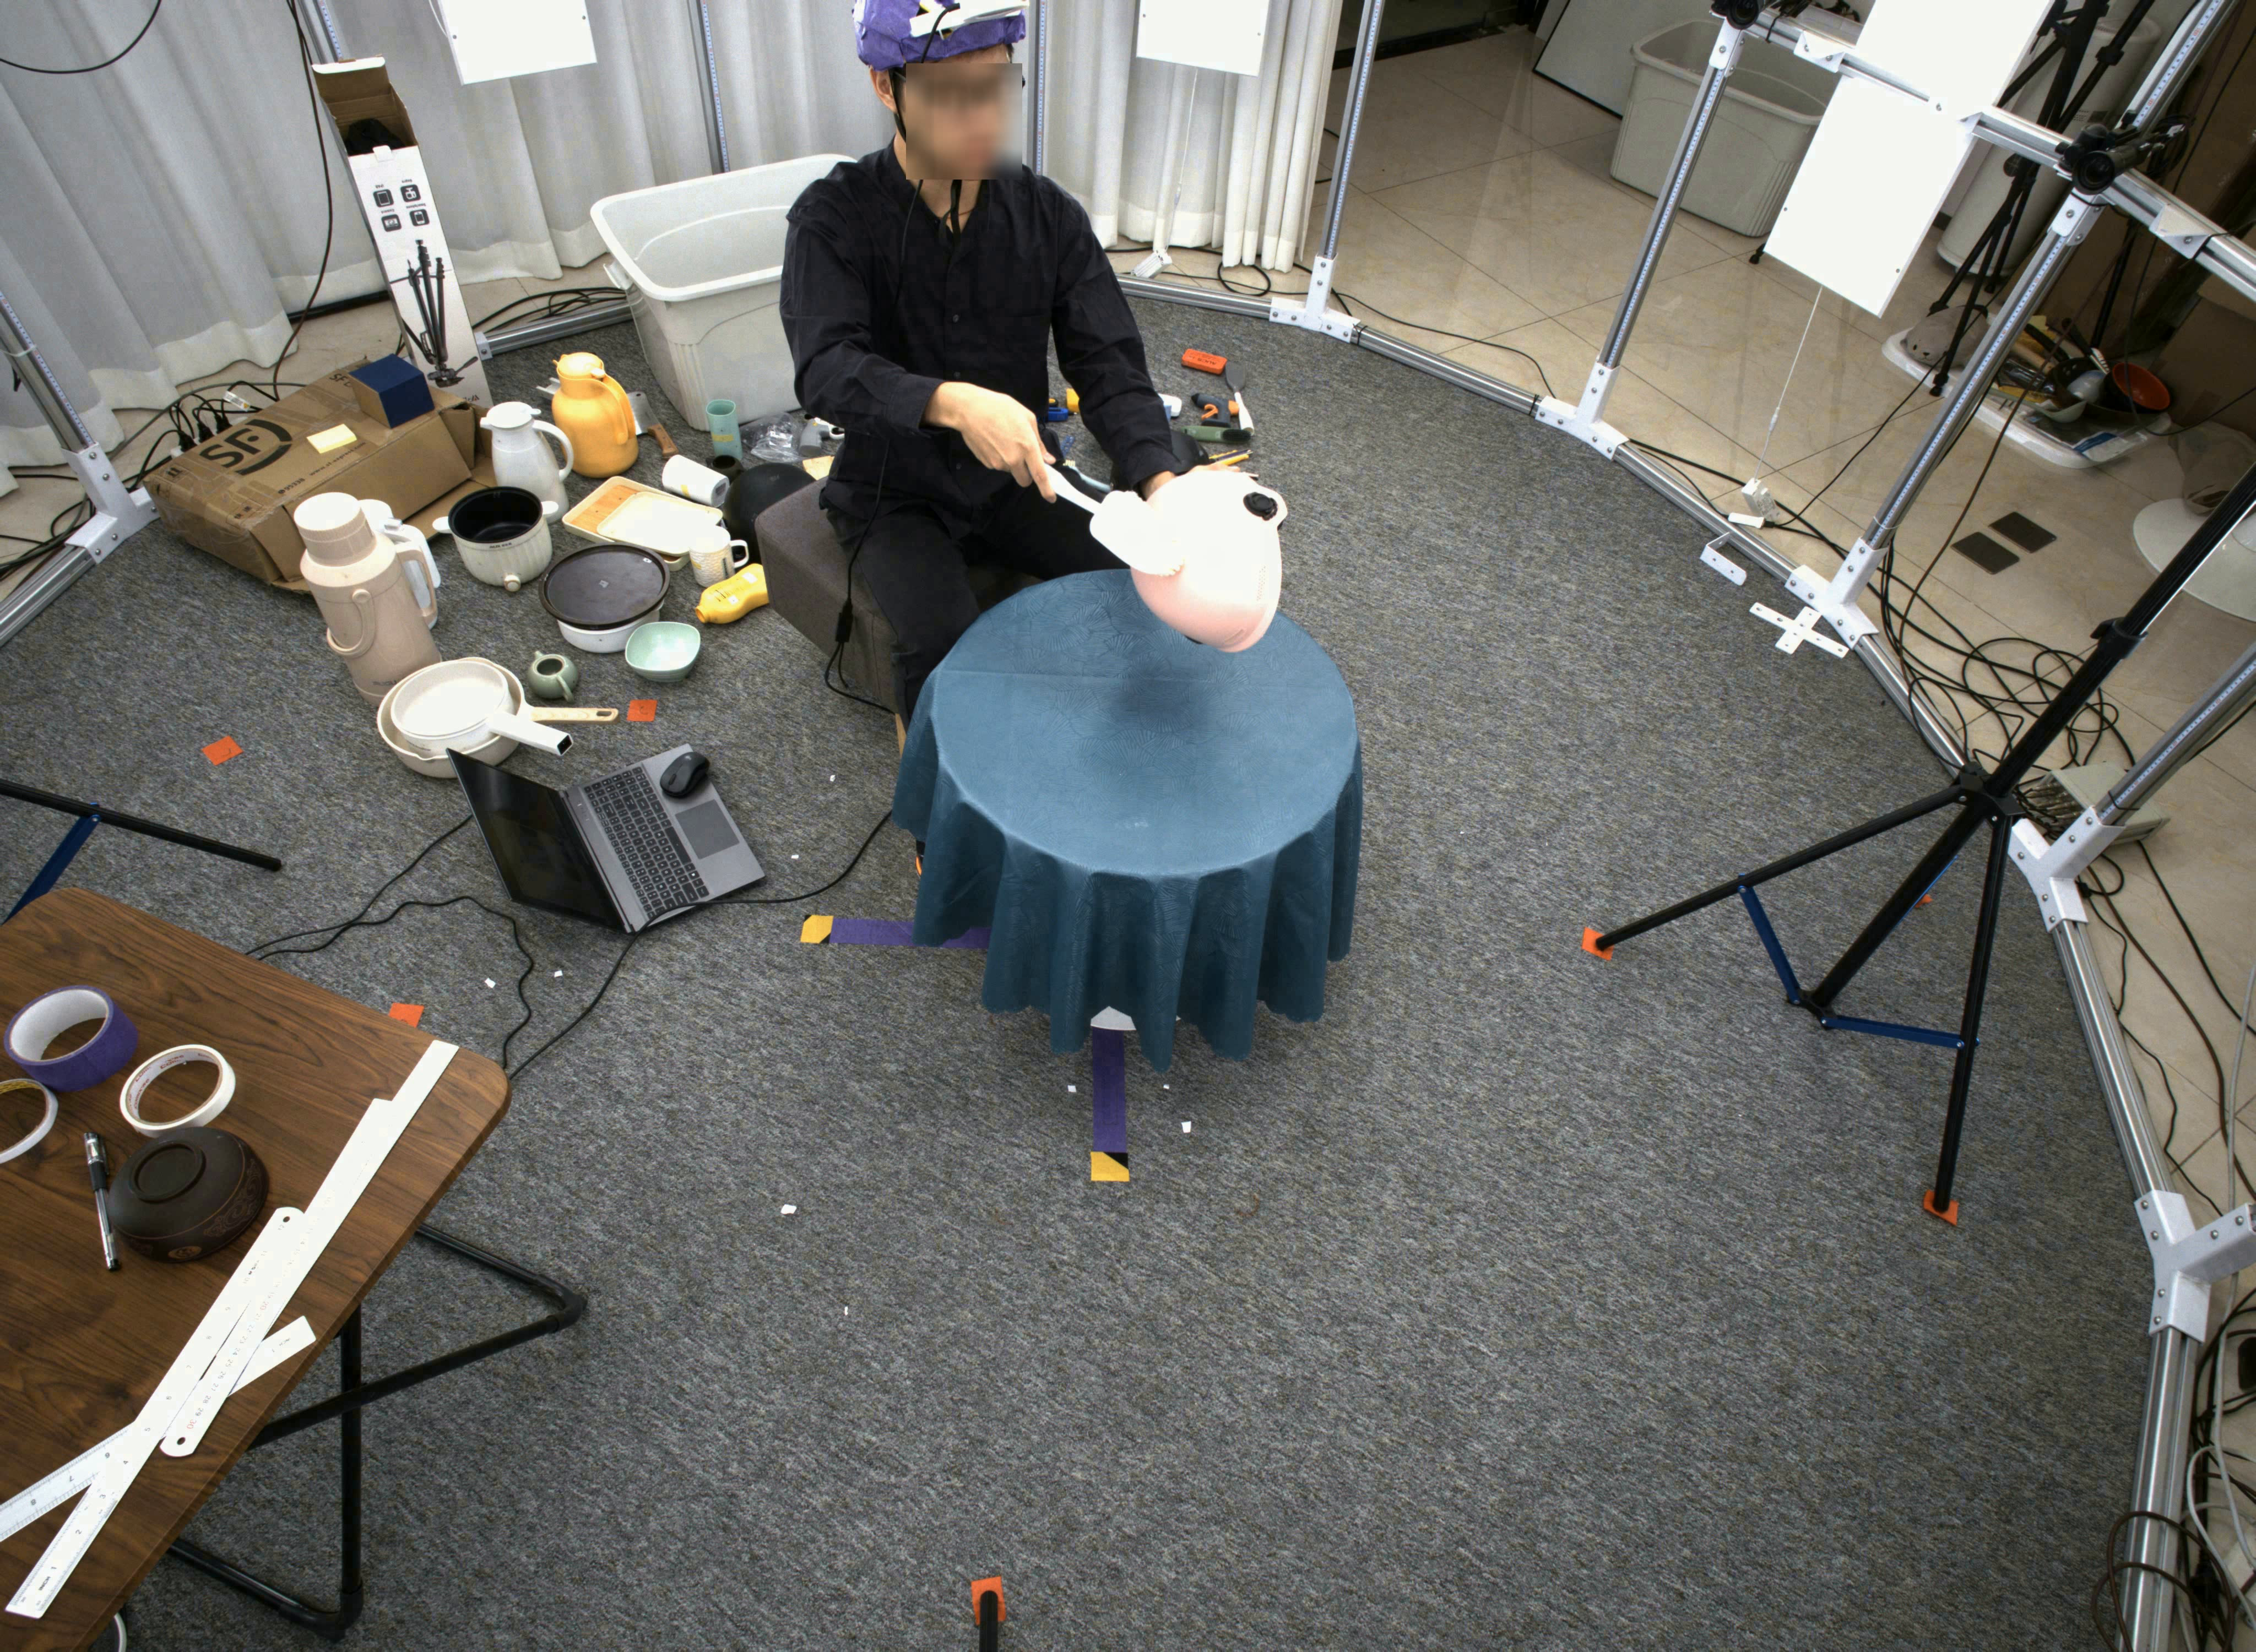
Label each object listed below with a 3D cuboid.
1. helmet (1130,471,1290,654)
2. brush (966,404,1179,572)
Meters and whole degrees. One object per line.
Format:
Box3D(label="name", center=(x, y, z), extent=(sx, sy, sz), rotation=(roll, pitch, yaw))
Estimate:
Box3D(label="helmet", center=(0.093, -0.358, 1.705), extent=(0.158, 0.230, 0.272), rotation=(7, 41, -28))
Box3D(label="brush", center=(-0.063, -0.434, 1.641), extent=(0.327, 0.083, 0.083), rotation=(39, 78, 7))
